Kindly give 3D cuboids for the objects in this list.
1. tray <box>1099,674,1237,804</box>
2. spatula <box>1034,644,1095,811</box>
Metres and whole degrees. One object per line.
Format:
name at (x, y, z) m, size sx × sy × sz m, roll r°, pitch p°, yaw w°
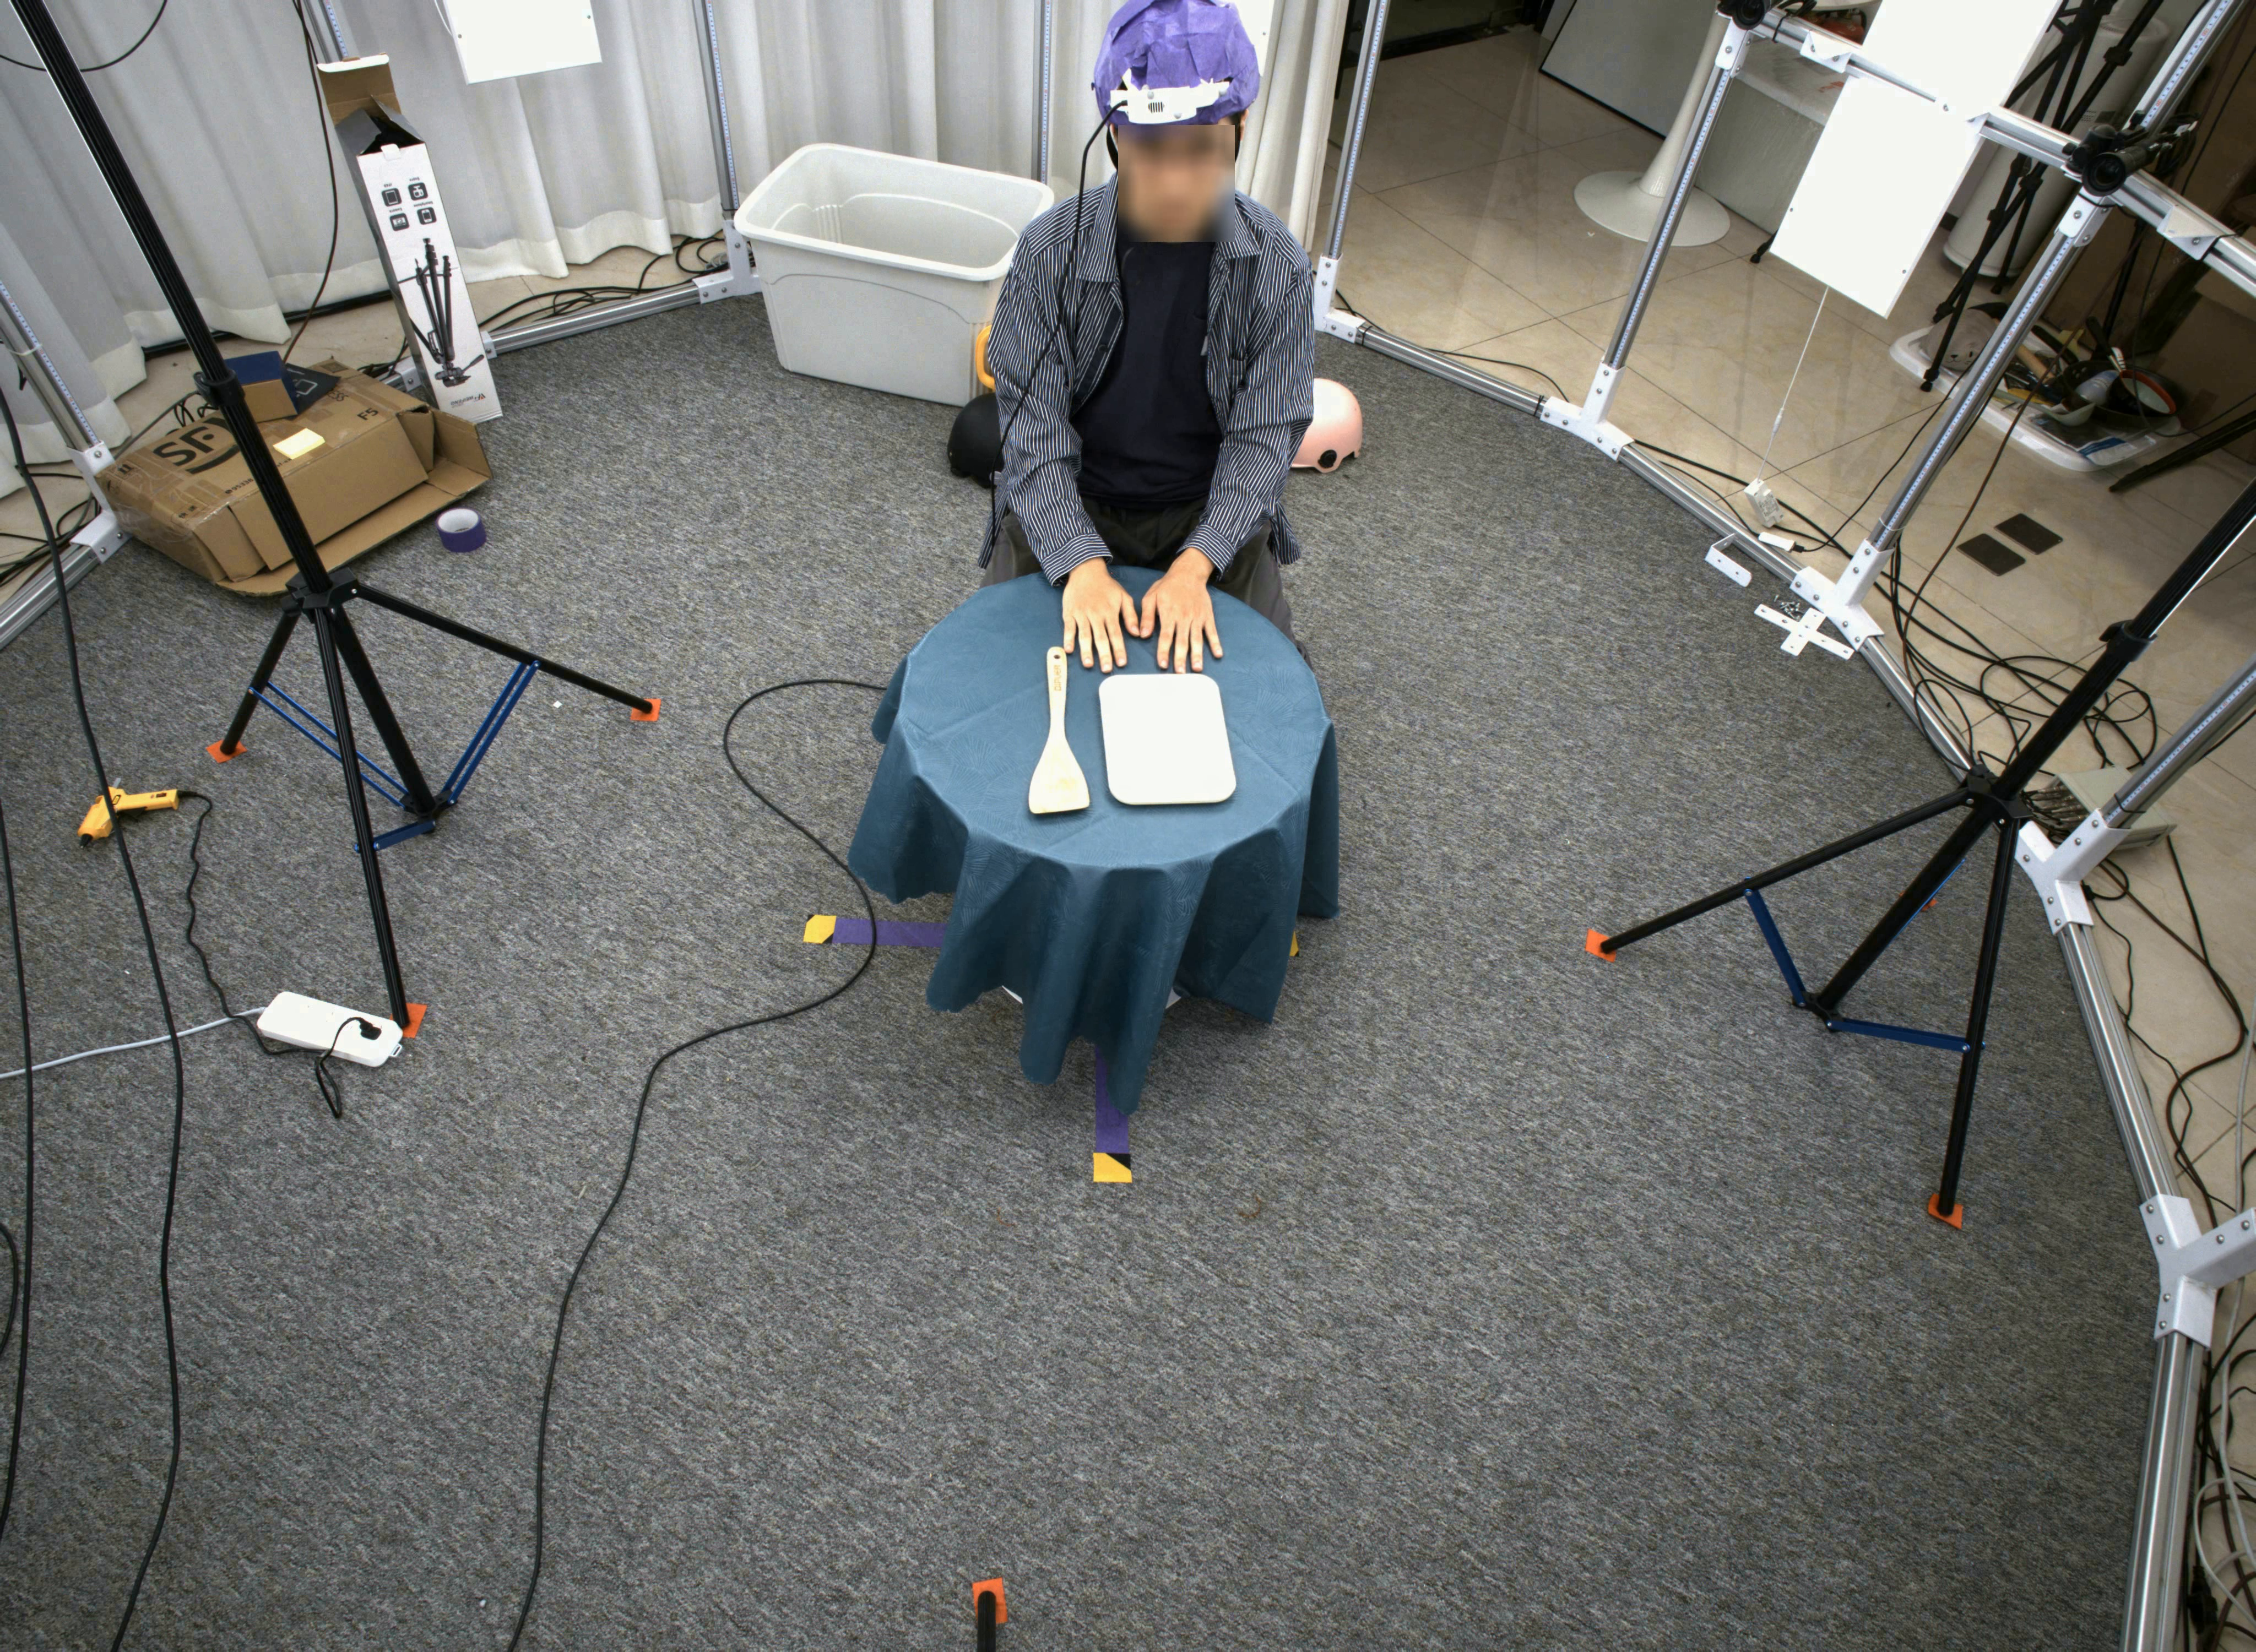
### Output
tray at (0.051, -0.121, 1.756) m, size 0.171 × 0.017 × 0.246 m, roll -1°, pitch 48°, yaw -7°
spatula at (-0.094, -0.141, 1.762) m, size 0.080 × 0.016 × 0.336 m, roll 0°, pitch 49°, yaw -6°
